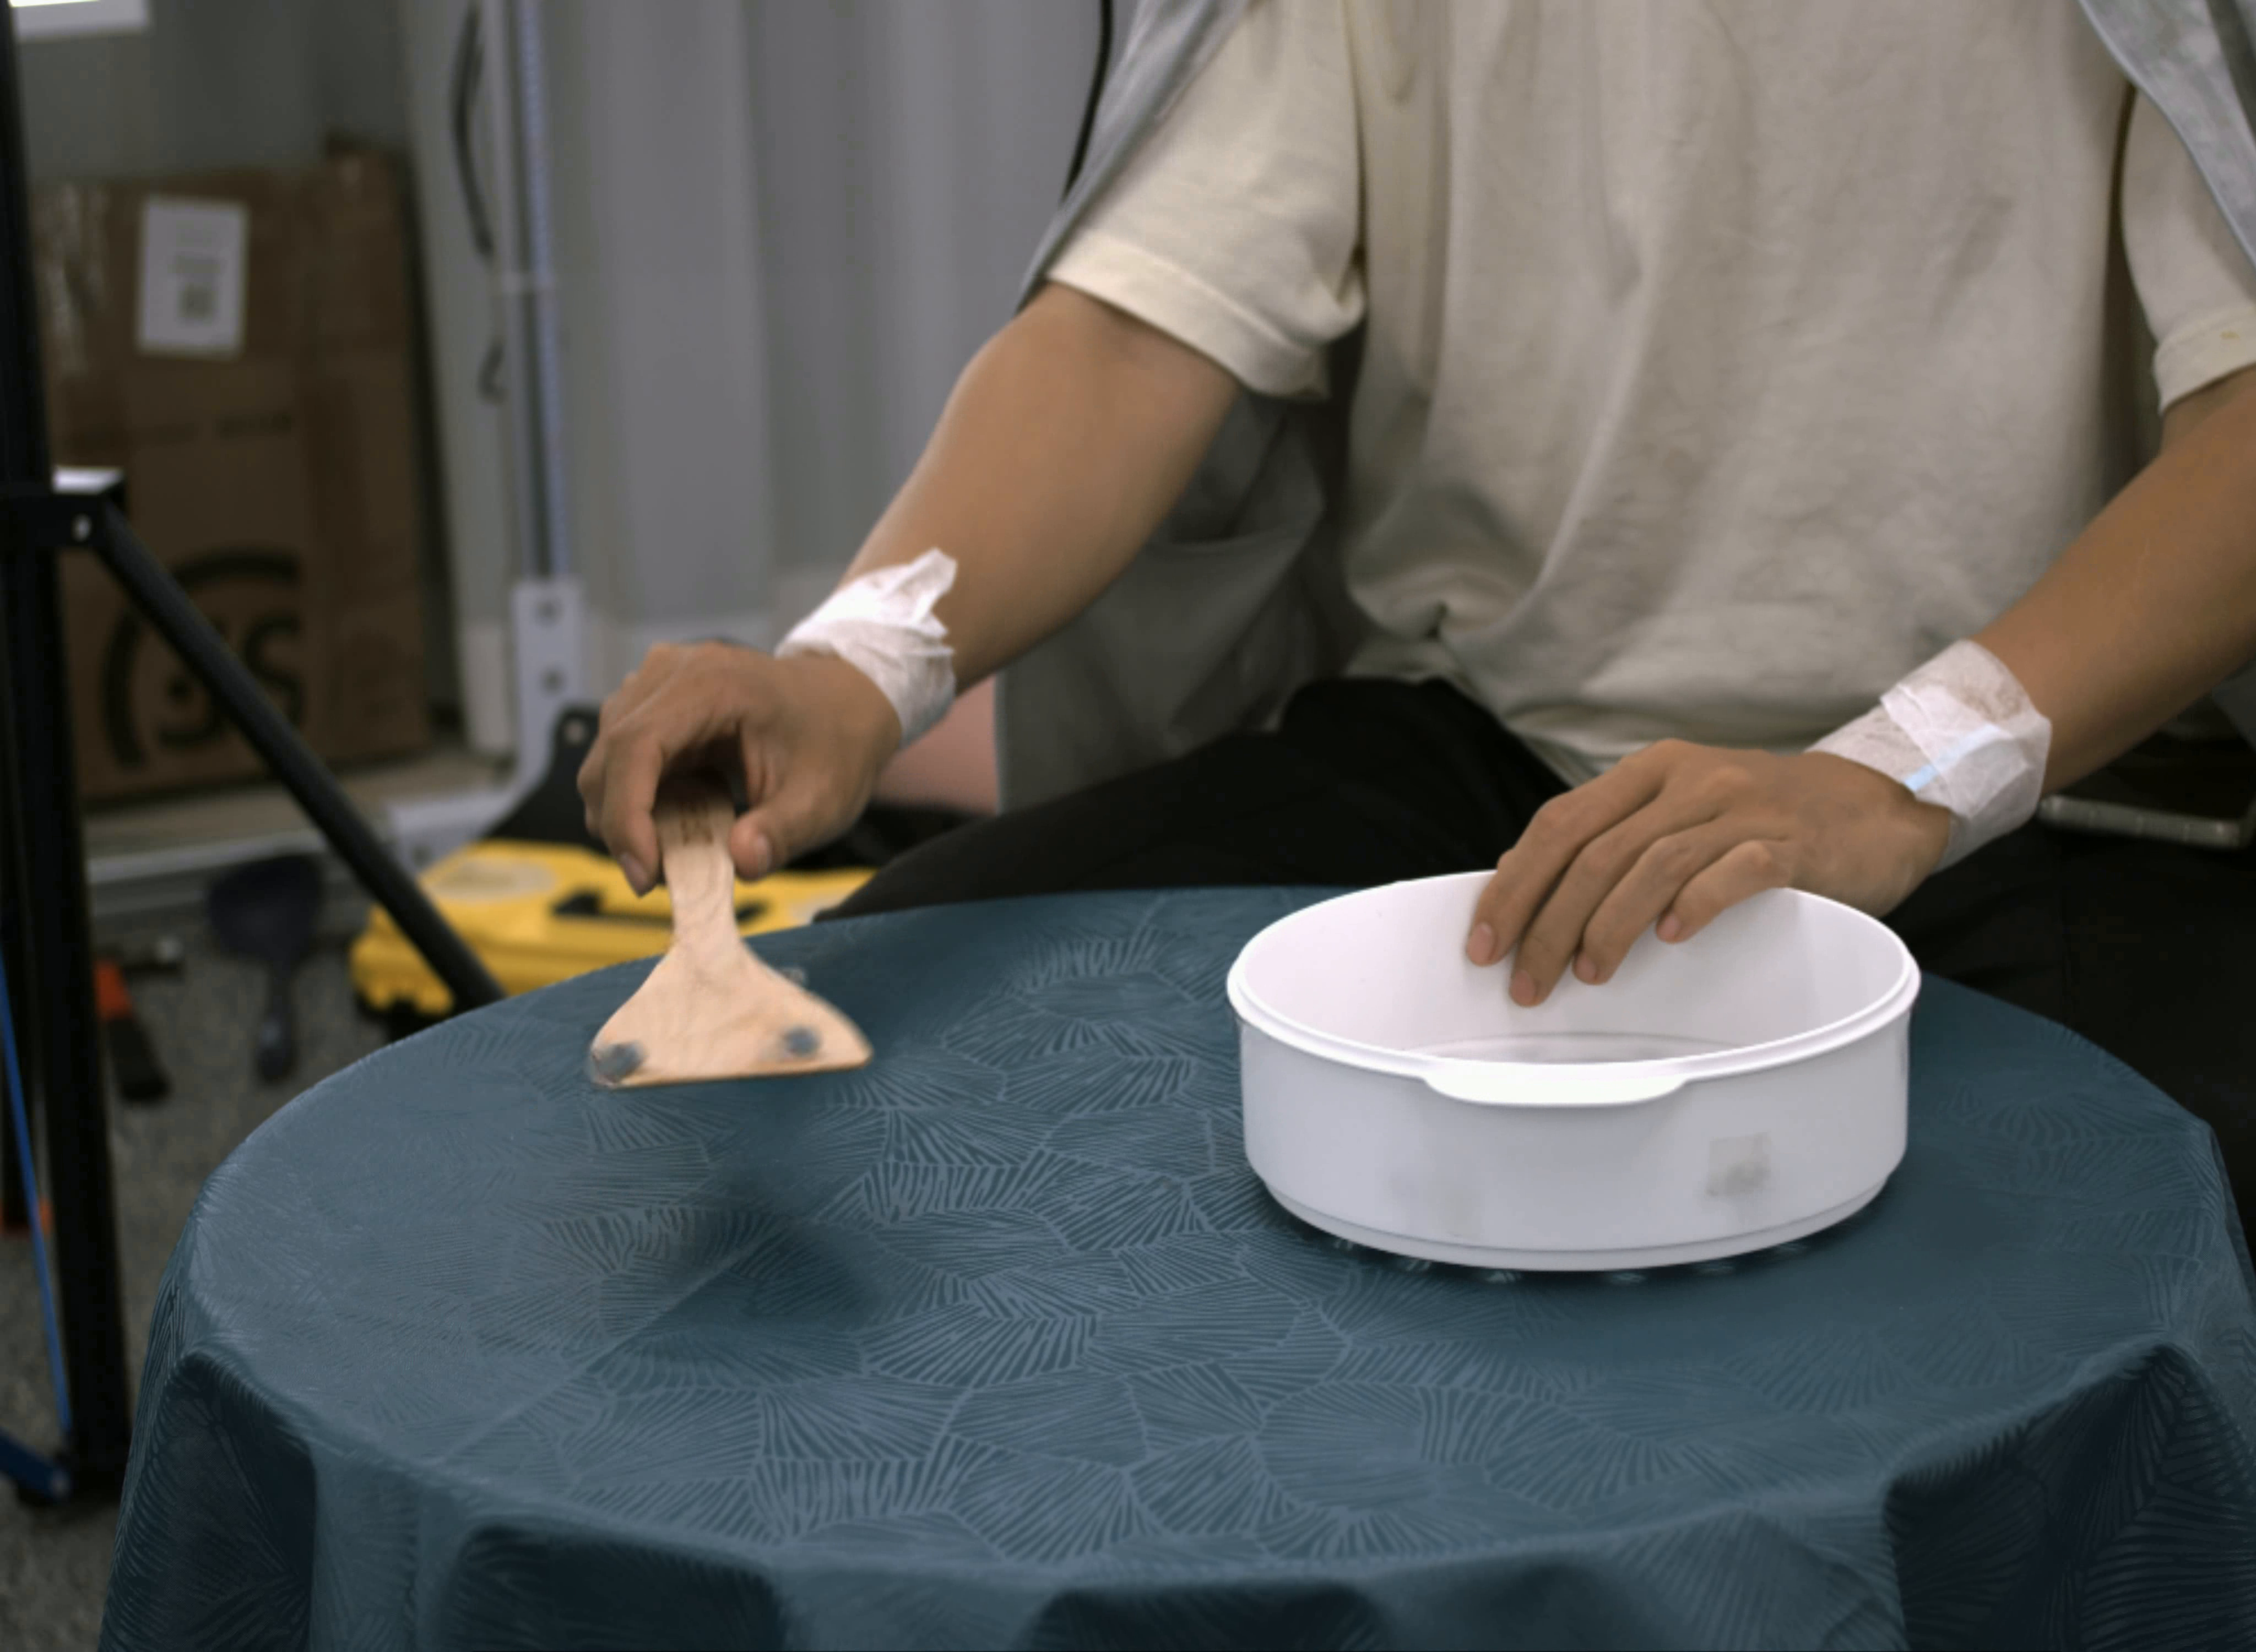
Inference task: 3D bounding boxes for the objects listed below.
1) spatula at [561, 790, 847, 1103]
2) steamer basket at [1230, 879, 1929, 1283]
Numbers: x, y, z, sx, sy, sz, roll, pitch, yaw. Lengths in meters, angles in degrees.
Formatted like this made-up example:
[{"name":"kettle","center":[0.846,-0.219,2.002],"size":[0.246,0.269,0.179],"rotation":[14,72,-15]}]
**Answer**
[{"name":"spatula","center":[-0.131,0.033,1.611],"size":[0.079,0.016,0.330],"rotation":[-2,17,-5]},{"name":"steamer basket","center":[0.130,0.073,1.537],"size":[0.202,0.069,0.230],"rotation":[1,15,7]}]
